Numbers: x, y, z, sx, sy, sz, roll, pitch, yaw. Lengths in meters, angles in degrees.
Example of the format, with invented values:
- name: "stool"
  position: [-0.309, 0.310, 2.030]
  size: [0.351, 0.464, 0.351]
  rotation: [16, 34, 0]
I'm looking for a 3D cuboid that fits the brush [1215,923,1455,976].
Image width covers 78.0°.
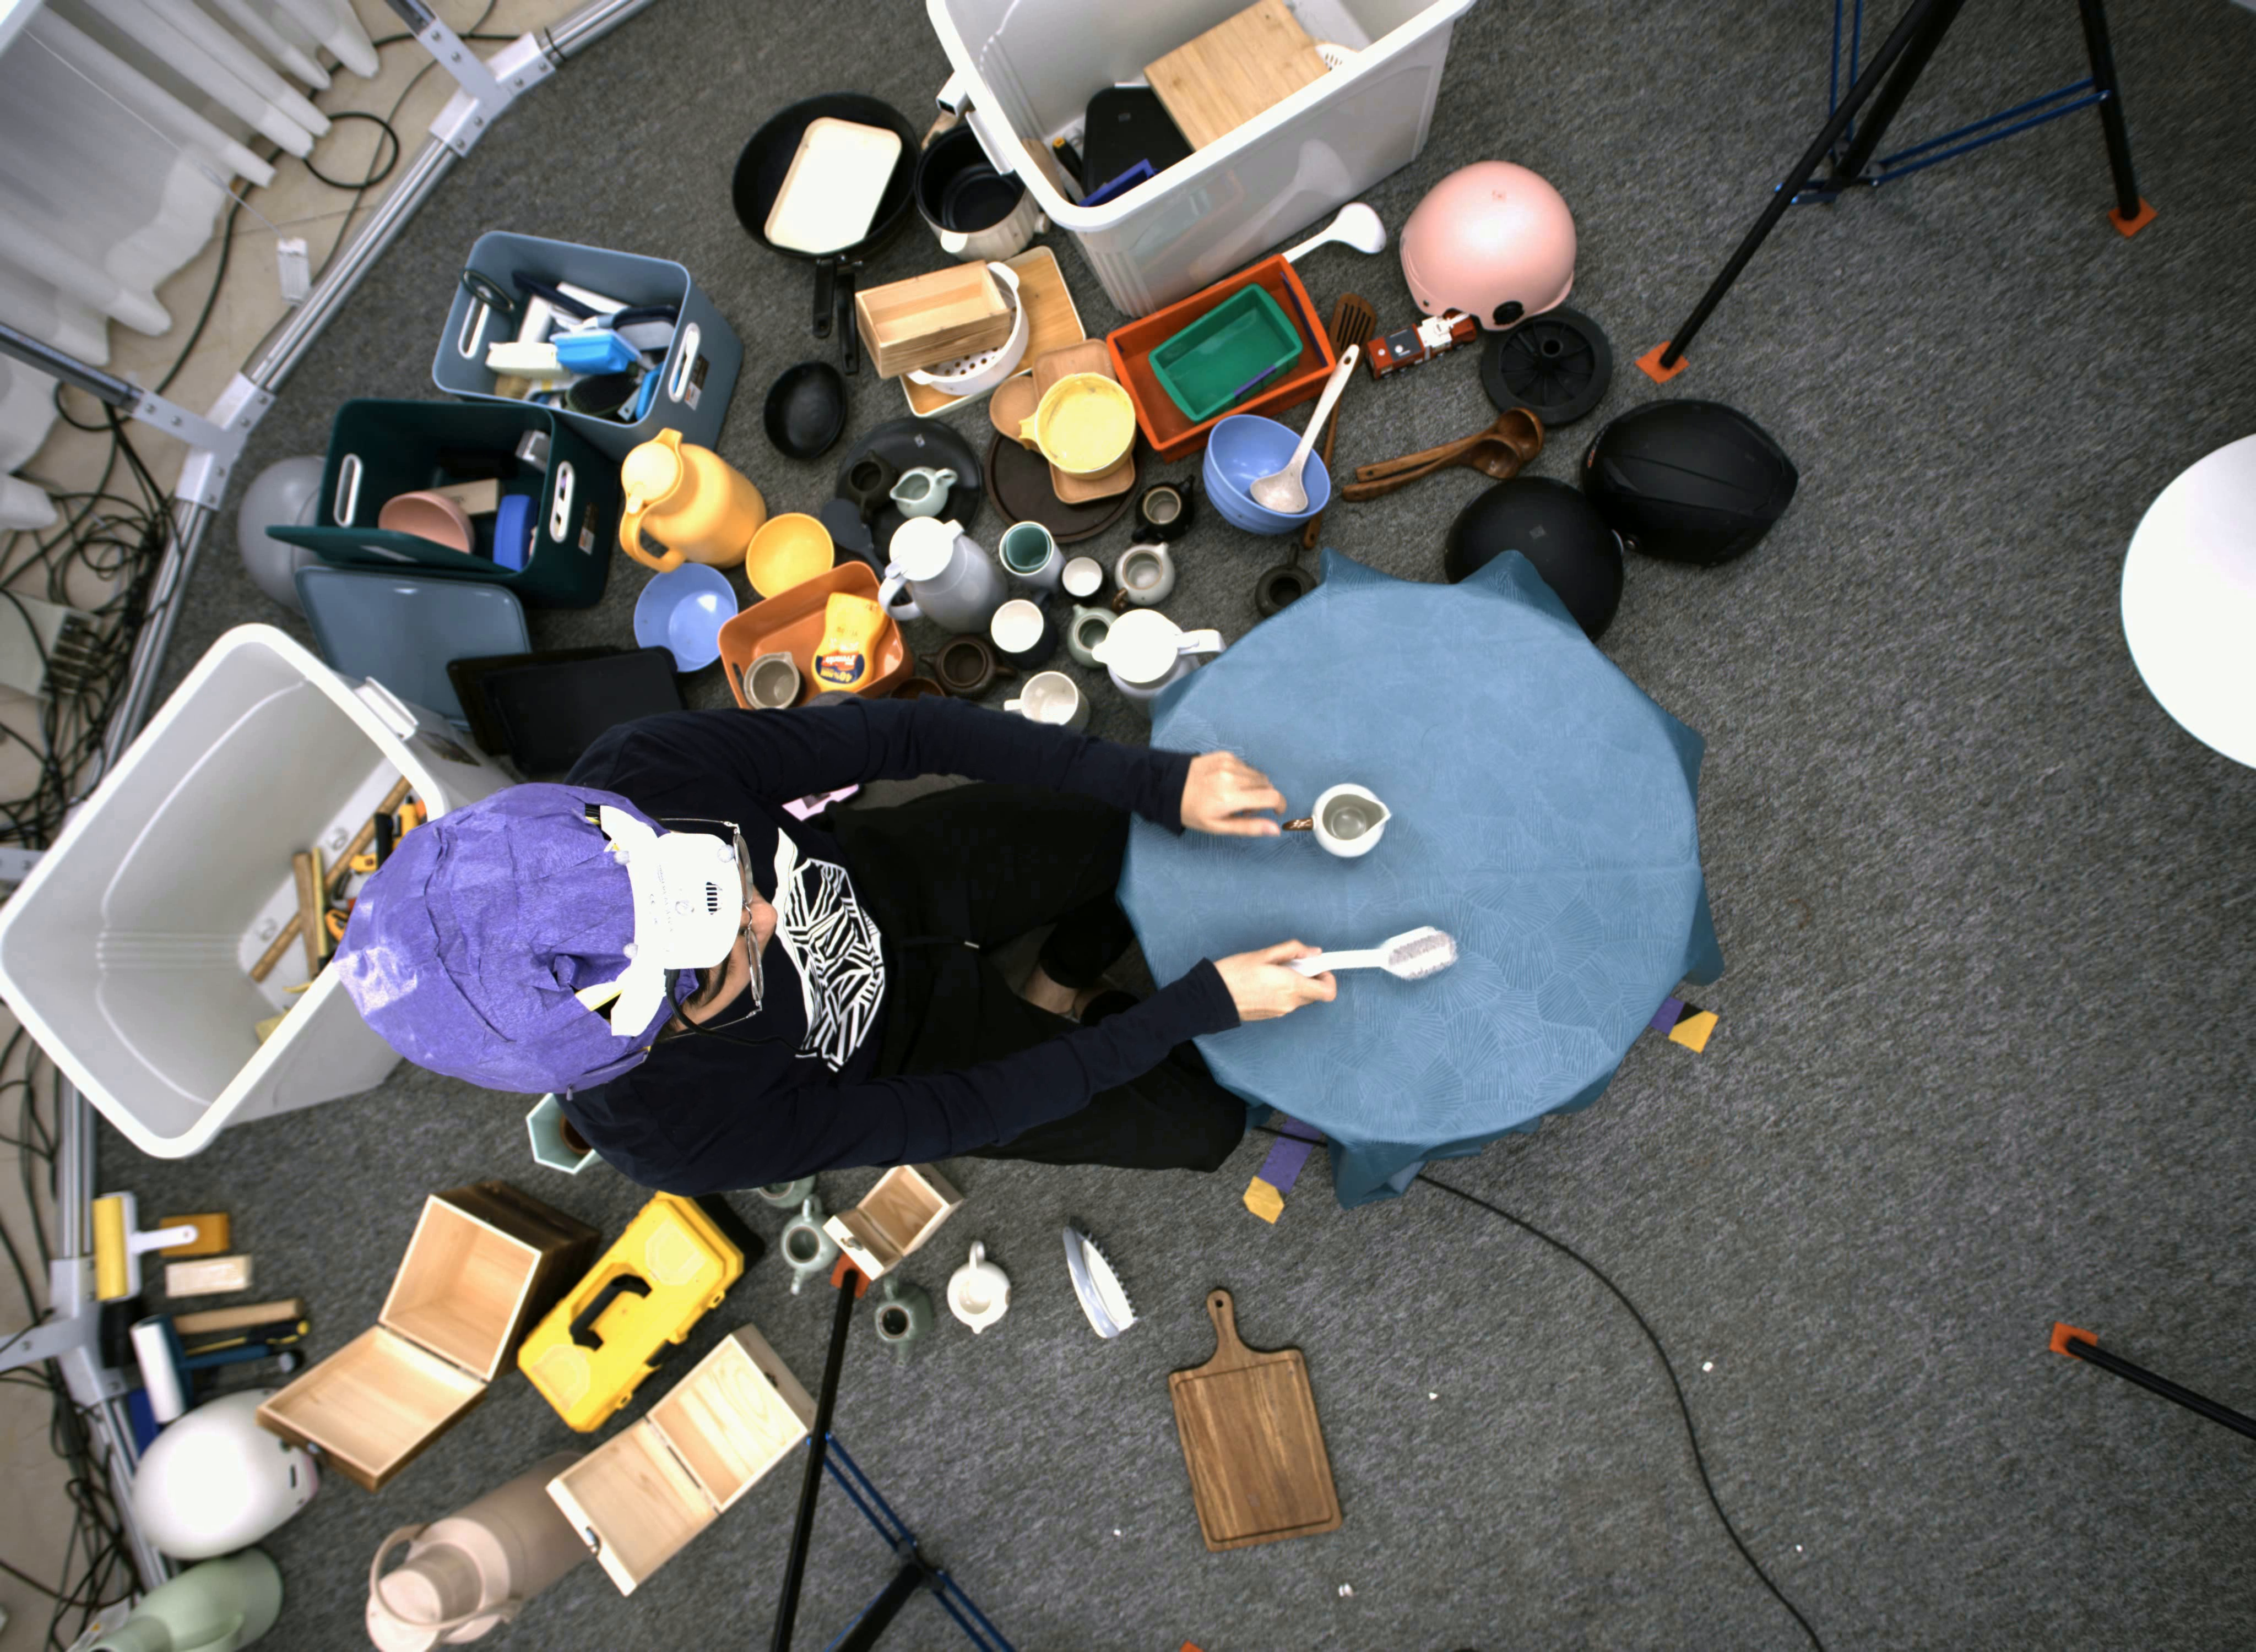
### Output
- name: "brush"
  position: [0.211, 0.136, 1.410]
  size: [0.244, 0.049, 0.035]
  rotation: [-8, 116, 1]

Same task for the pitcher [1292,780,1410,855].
- name: "pitcher"
  position: [0.229, -0.008, 1.425]
  size: [0.119, 0.088, 0.075]
  rotation: [-5, 80, 7]
